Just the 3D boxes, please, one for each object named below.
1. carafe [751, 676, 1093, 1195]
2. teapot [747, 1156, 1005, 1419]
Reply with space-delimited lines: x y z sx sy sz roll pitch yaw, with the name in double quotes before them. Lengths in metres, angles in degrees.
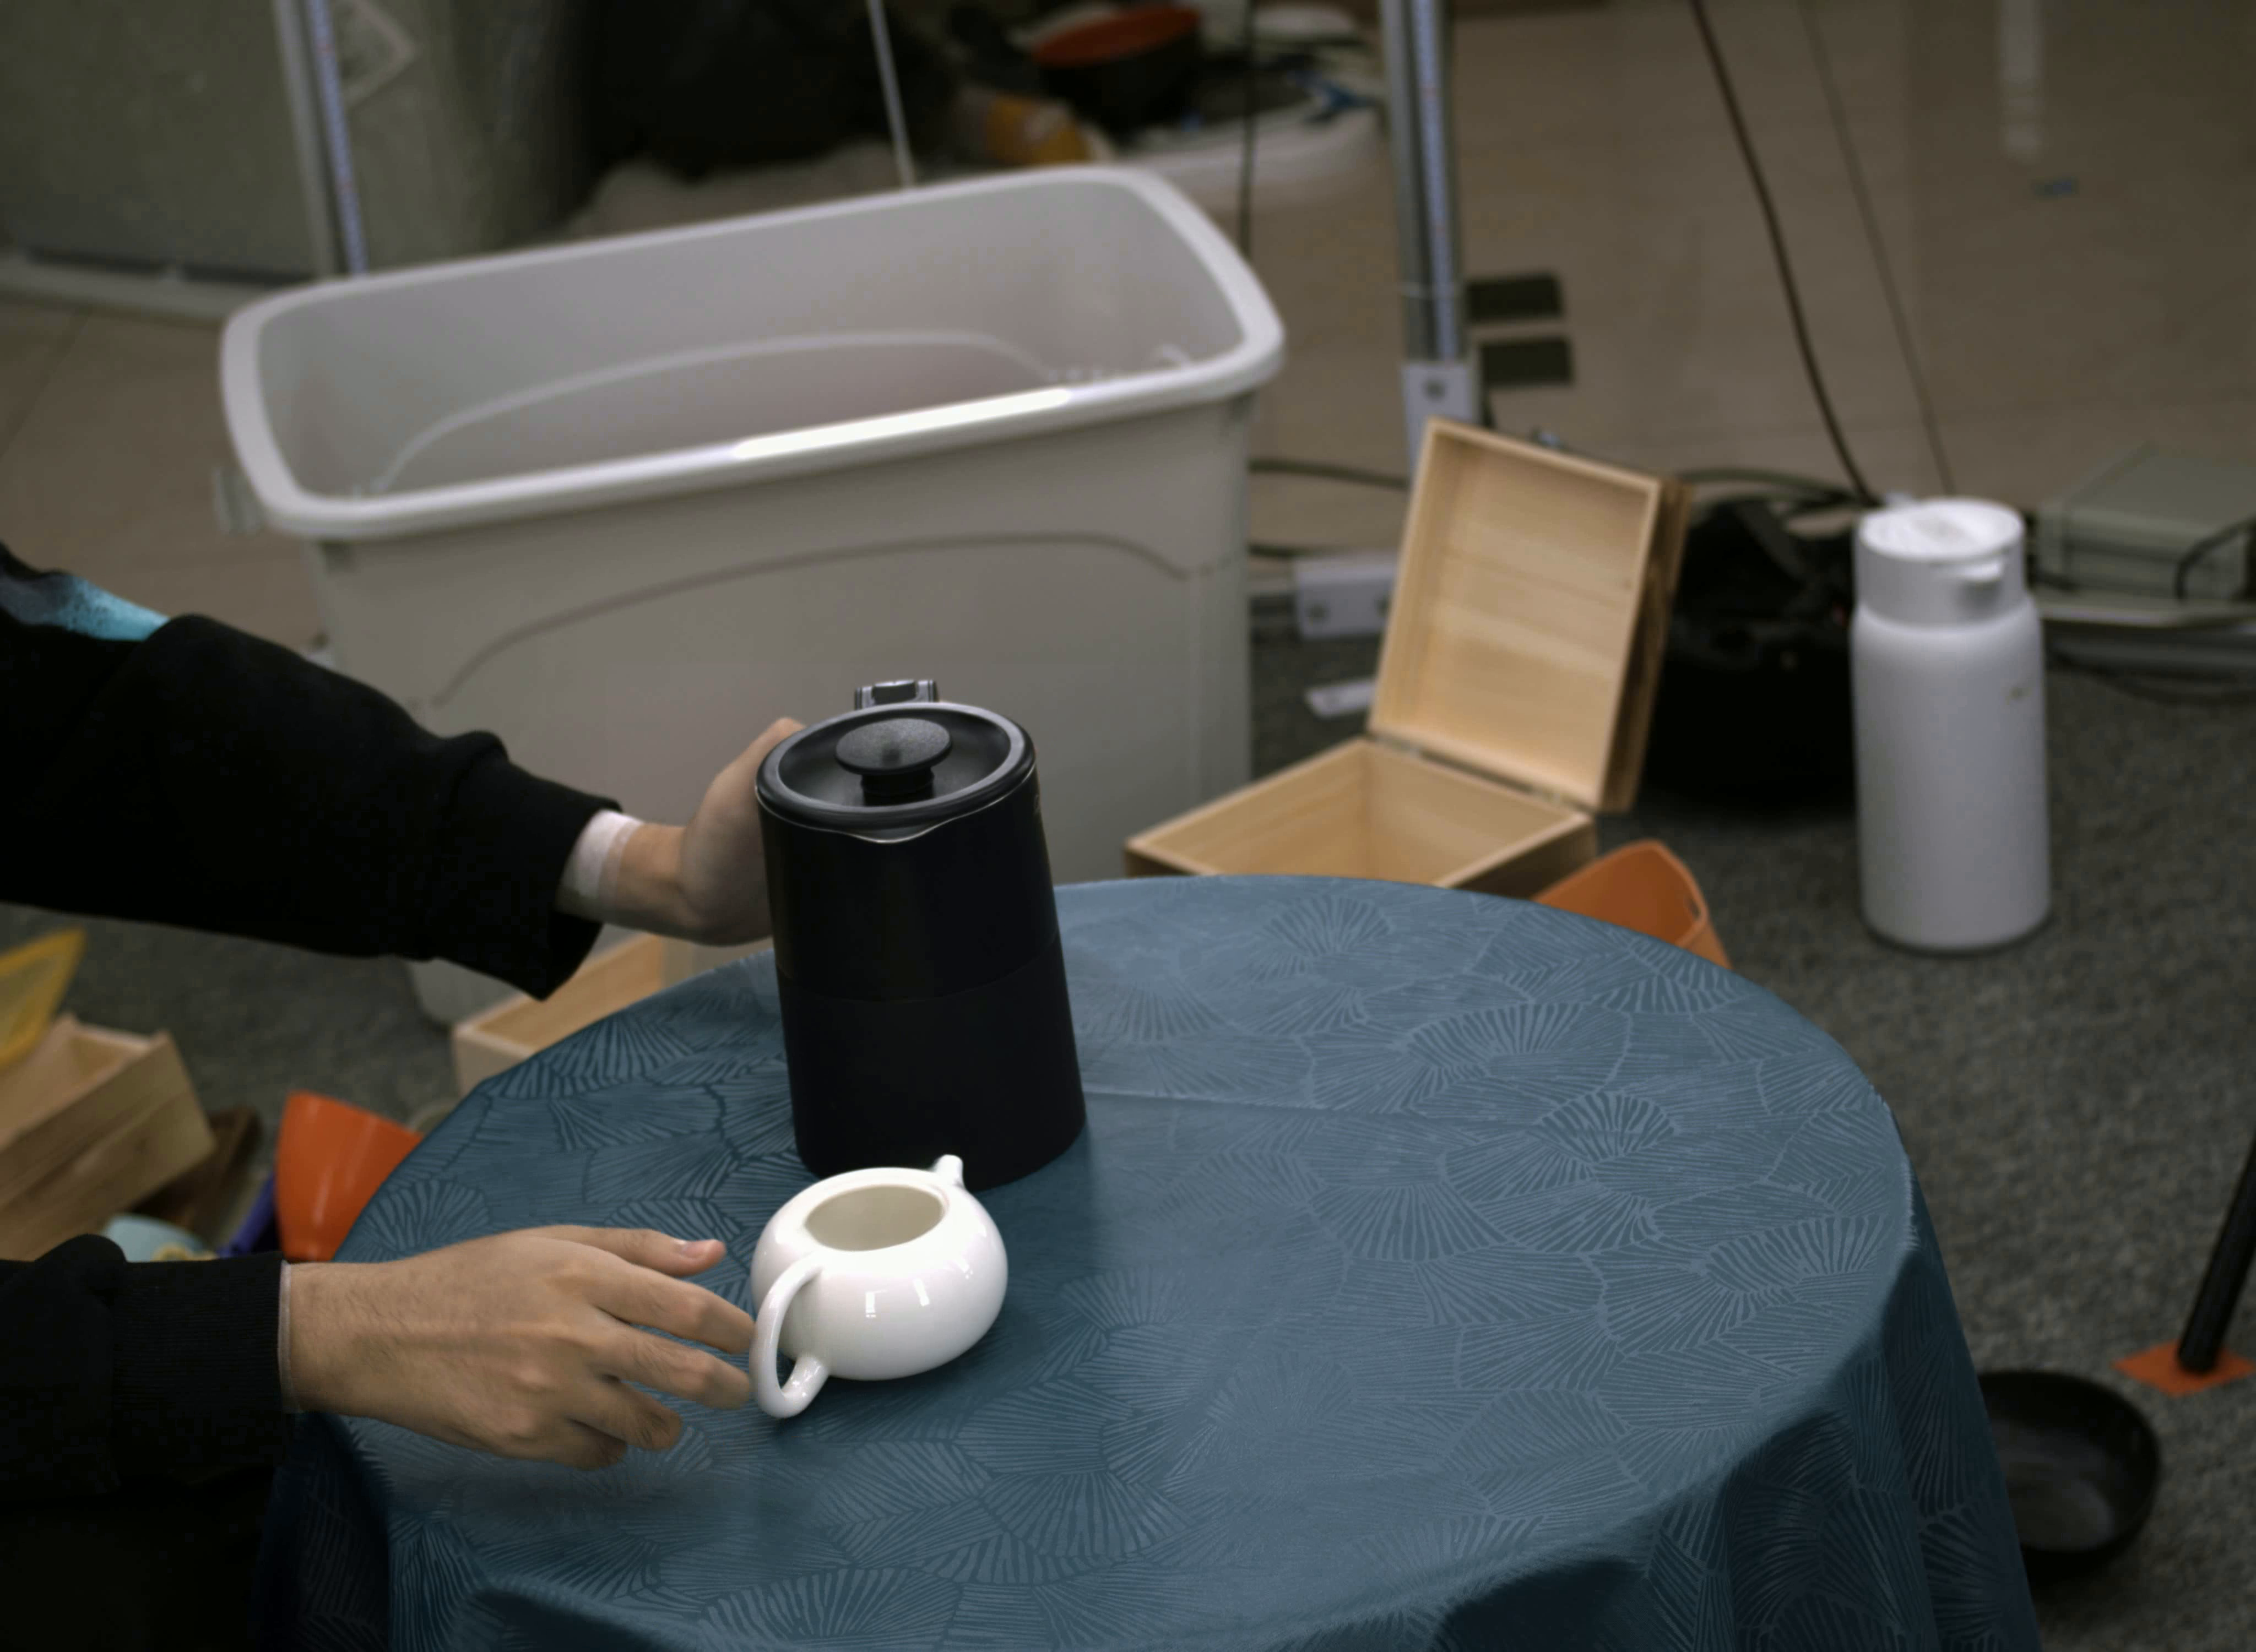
"carafe" -0.082 0.033 2.186 0.114 0.176 0.169 -8 28 0
"teapot" -0.096 0.168 2.042 0.093 0.057 0.126 11 31 26
